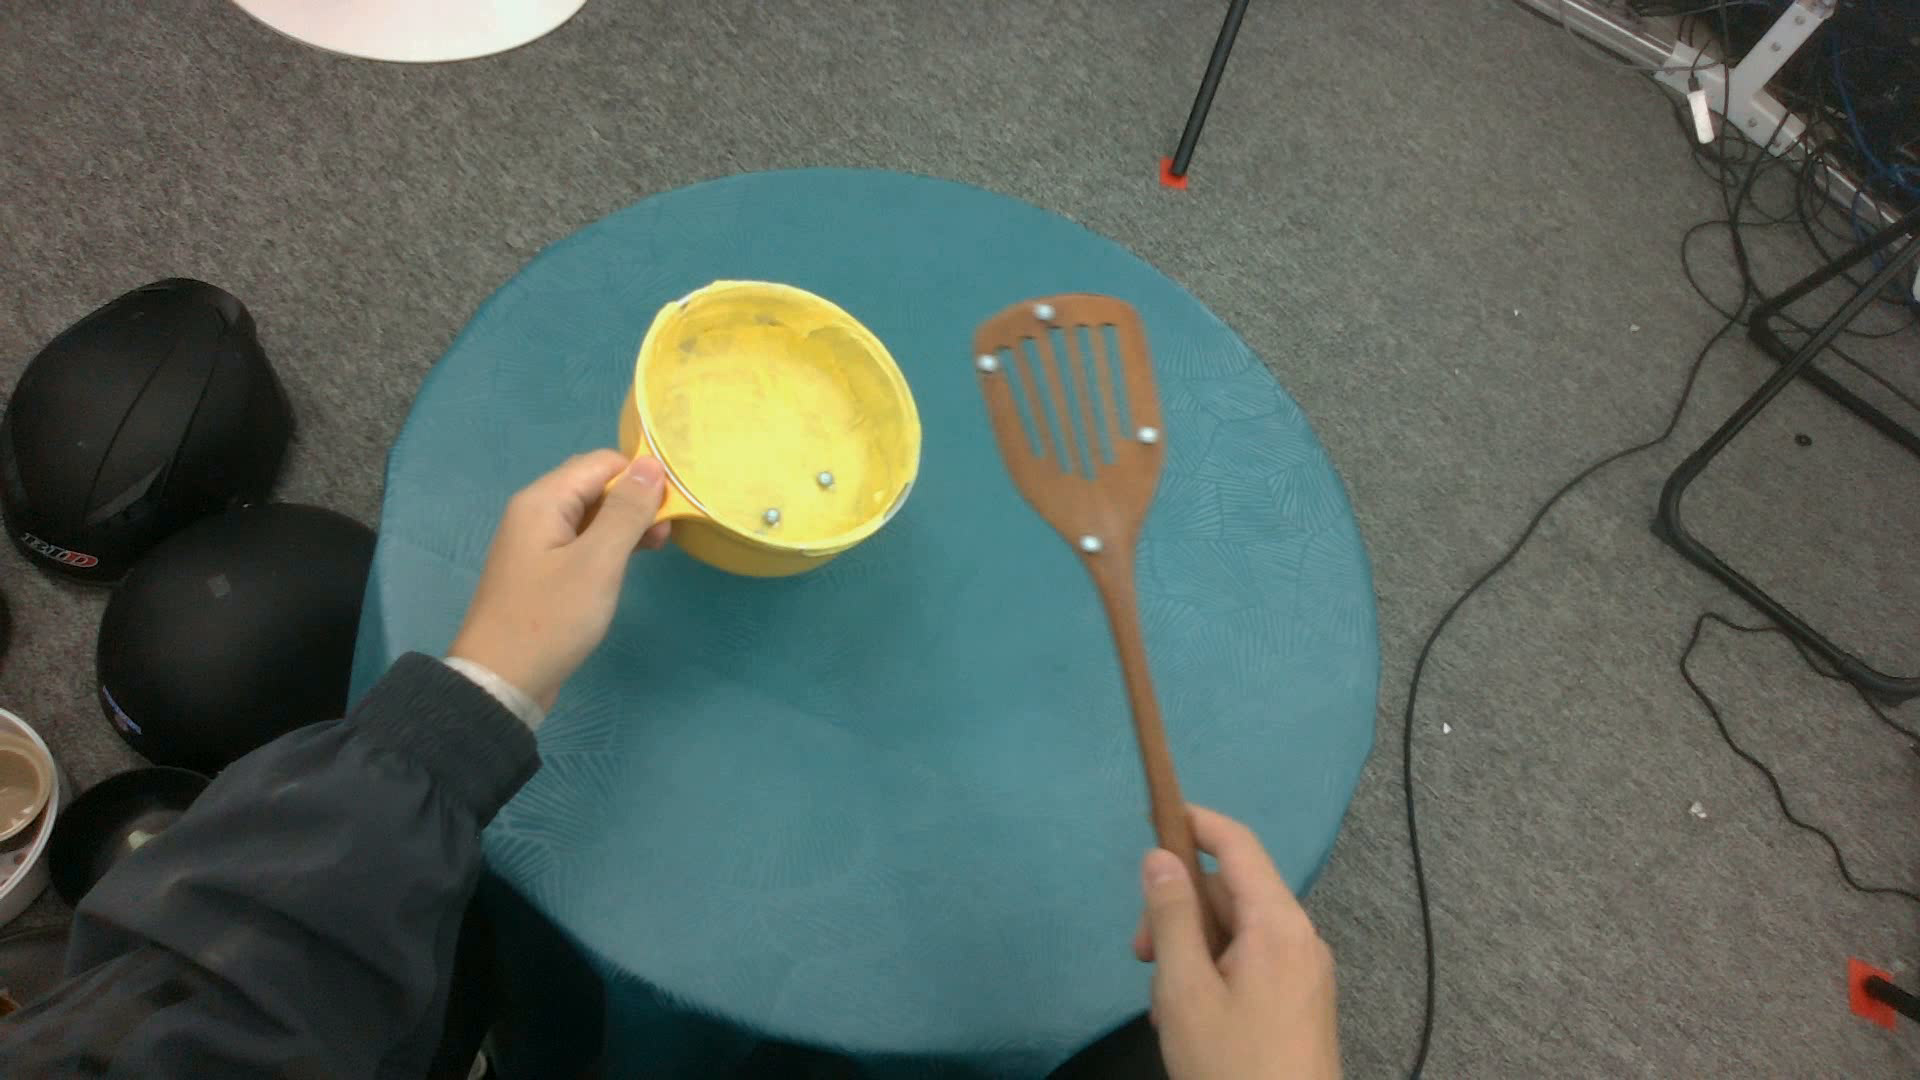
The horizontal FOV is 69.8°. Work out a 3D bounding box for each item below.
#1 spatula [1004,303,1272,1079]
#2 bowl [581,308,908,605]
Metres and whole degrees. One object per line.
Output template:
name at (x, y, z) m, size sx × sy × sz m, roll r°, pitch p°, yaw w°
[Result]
spatula at (0.094, 0.072, 0.641) m, size 0.085 × 0.024 × 0.387 m, roll -15°, pitch 74°, yaw 17°
bowl at (-0.120, -0.037, 0.725) m, size 0.153 × 0.074 × 0.180 m, roll 46°, pitch 51°, yaw -2°
